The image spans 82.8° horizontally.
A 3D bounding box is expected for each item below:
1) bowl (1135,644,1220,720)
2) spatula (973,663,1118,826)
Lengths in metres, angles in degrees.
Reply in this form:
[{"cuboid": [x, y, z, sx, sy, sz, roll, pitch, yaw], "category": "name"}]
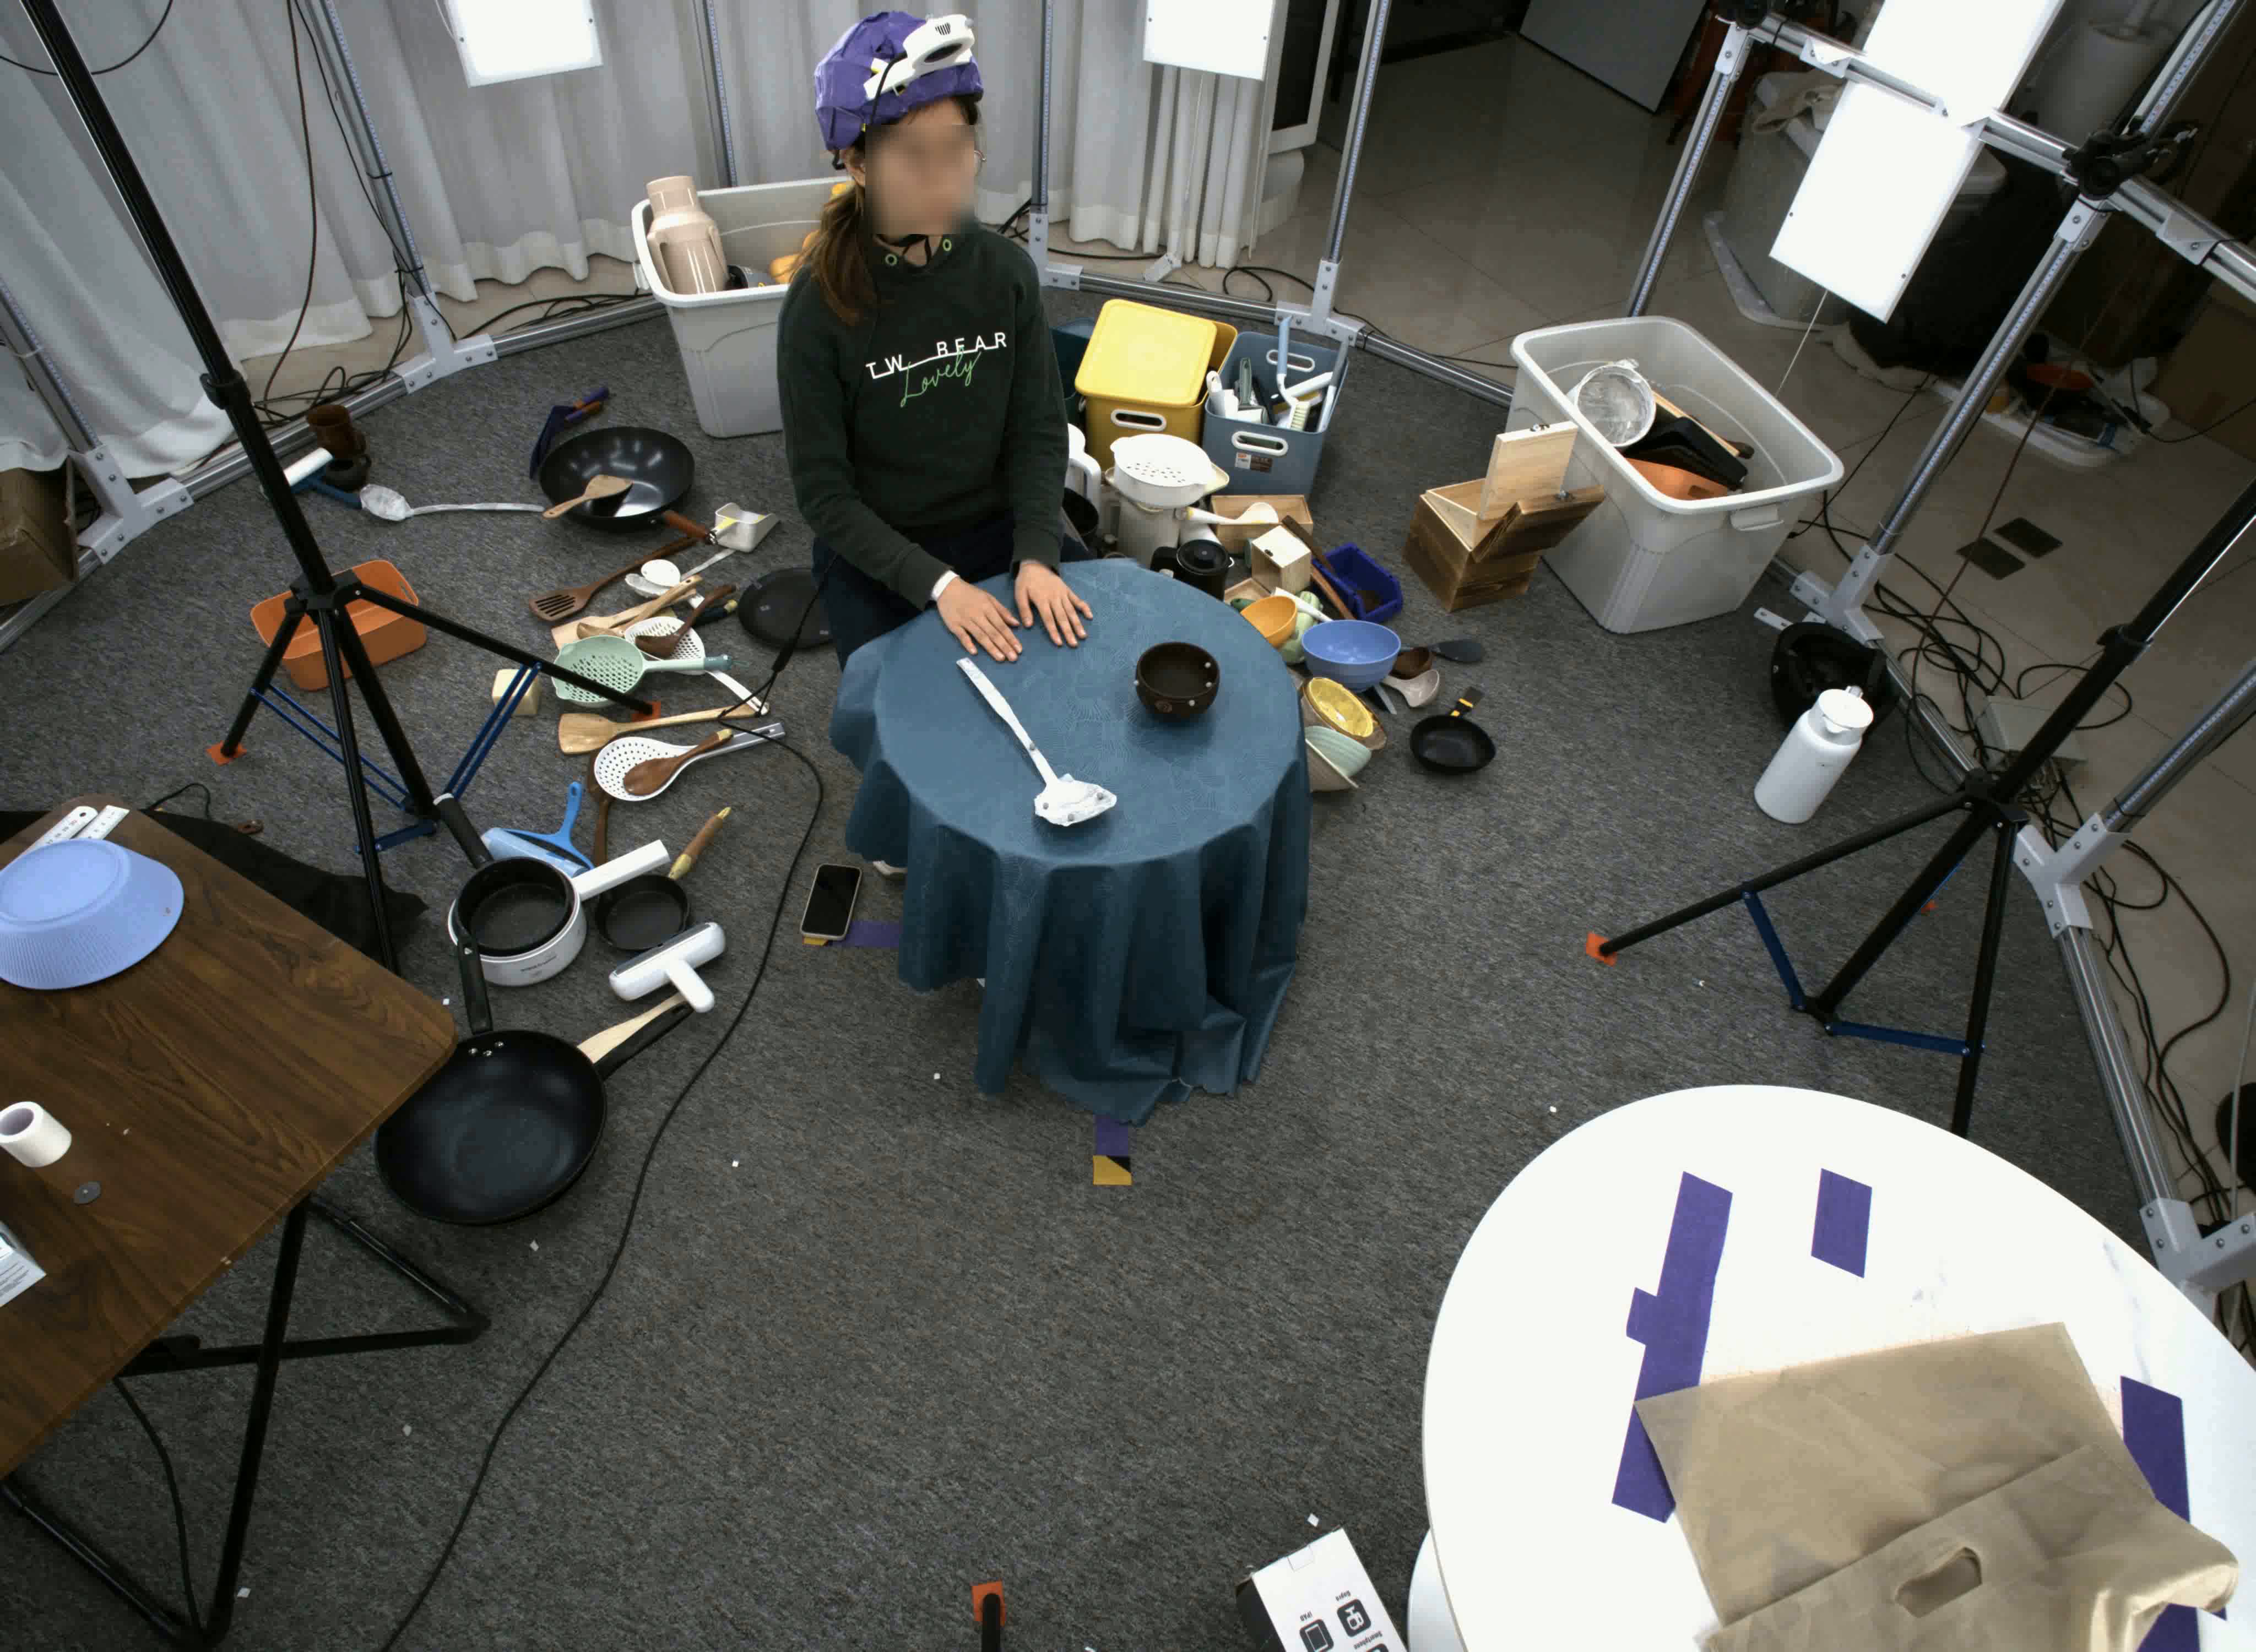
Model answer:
[{"cuboid": [0.068, -0.195, 1.813, 0.118, 0.068, 0.121, 2, 47, -3], "category": "bowl"}, {"cuboid": [-0.136, -0.123, 1.757, 0.099, 0.043, 0.373, -22, 54, -19], "category": "spatula"}]
